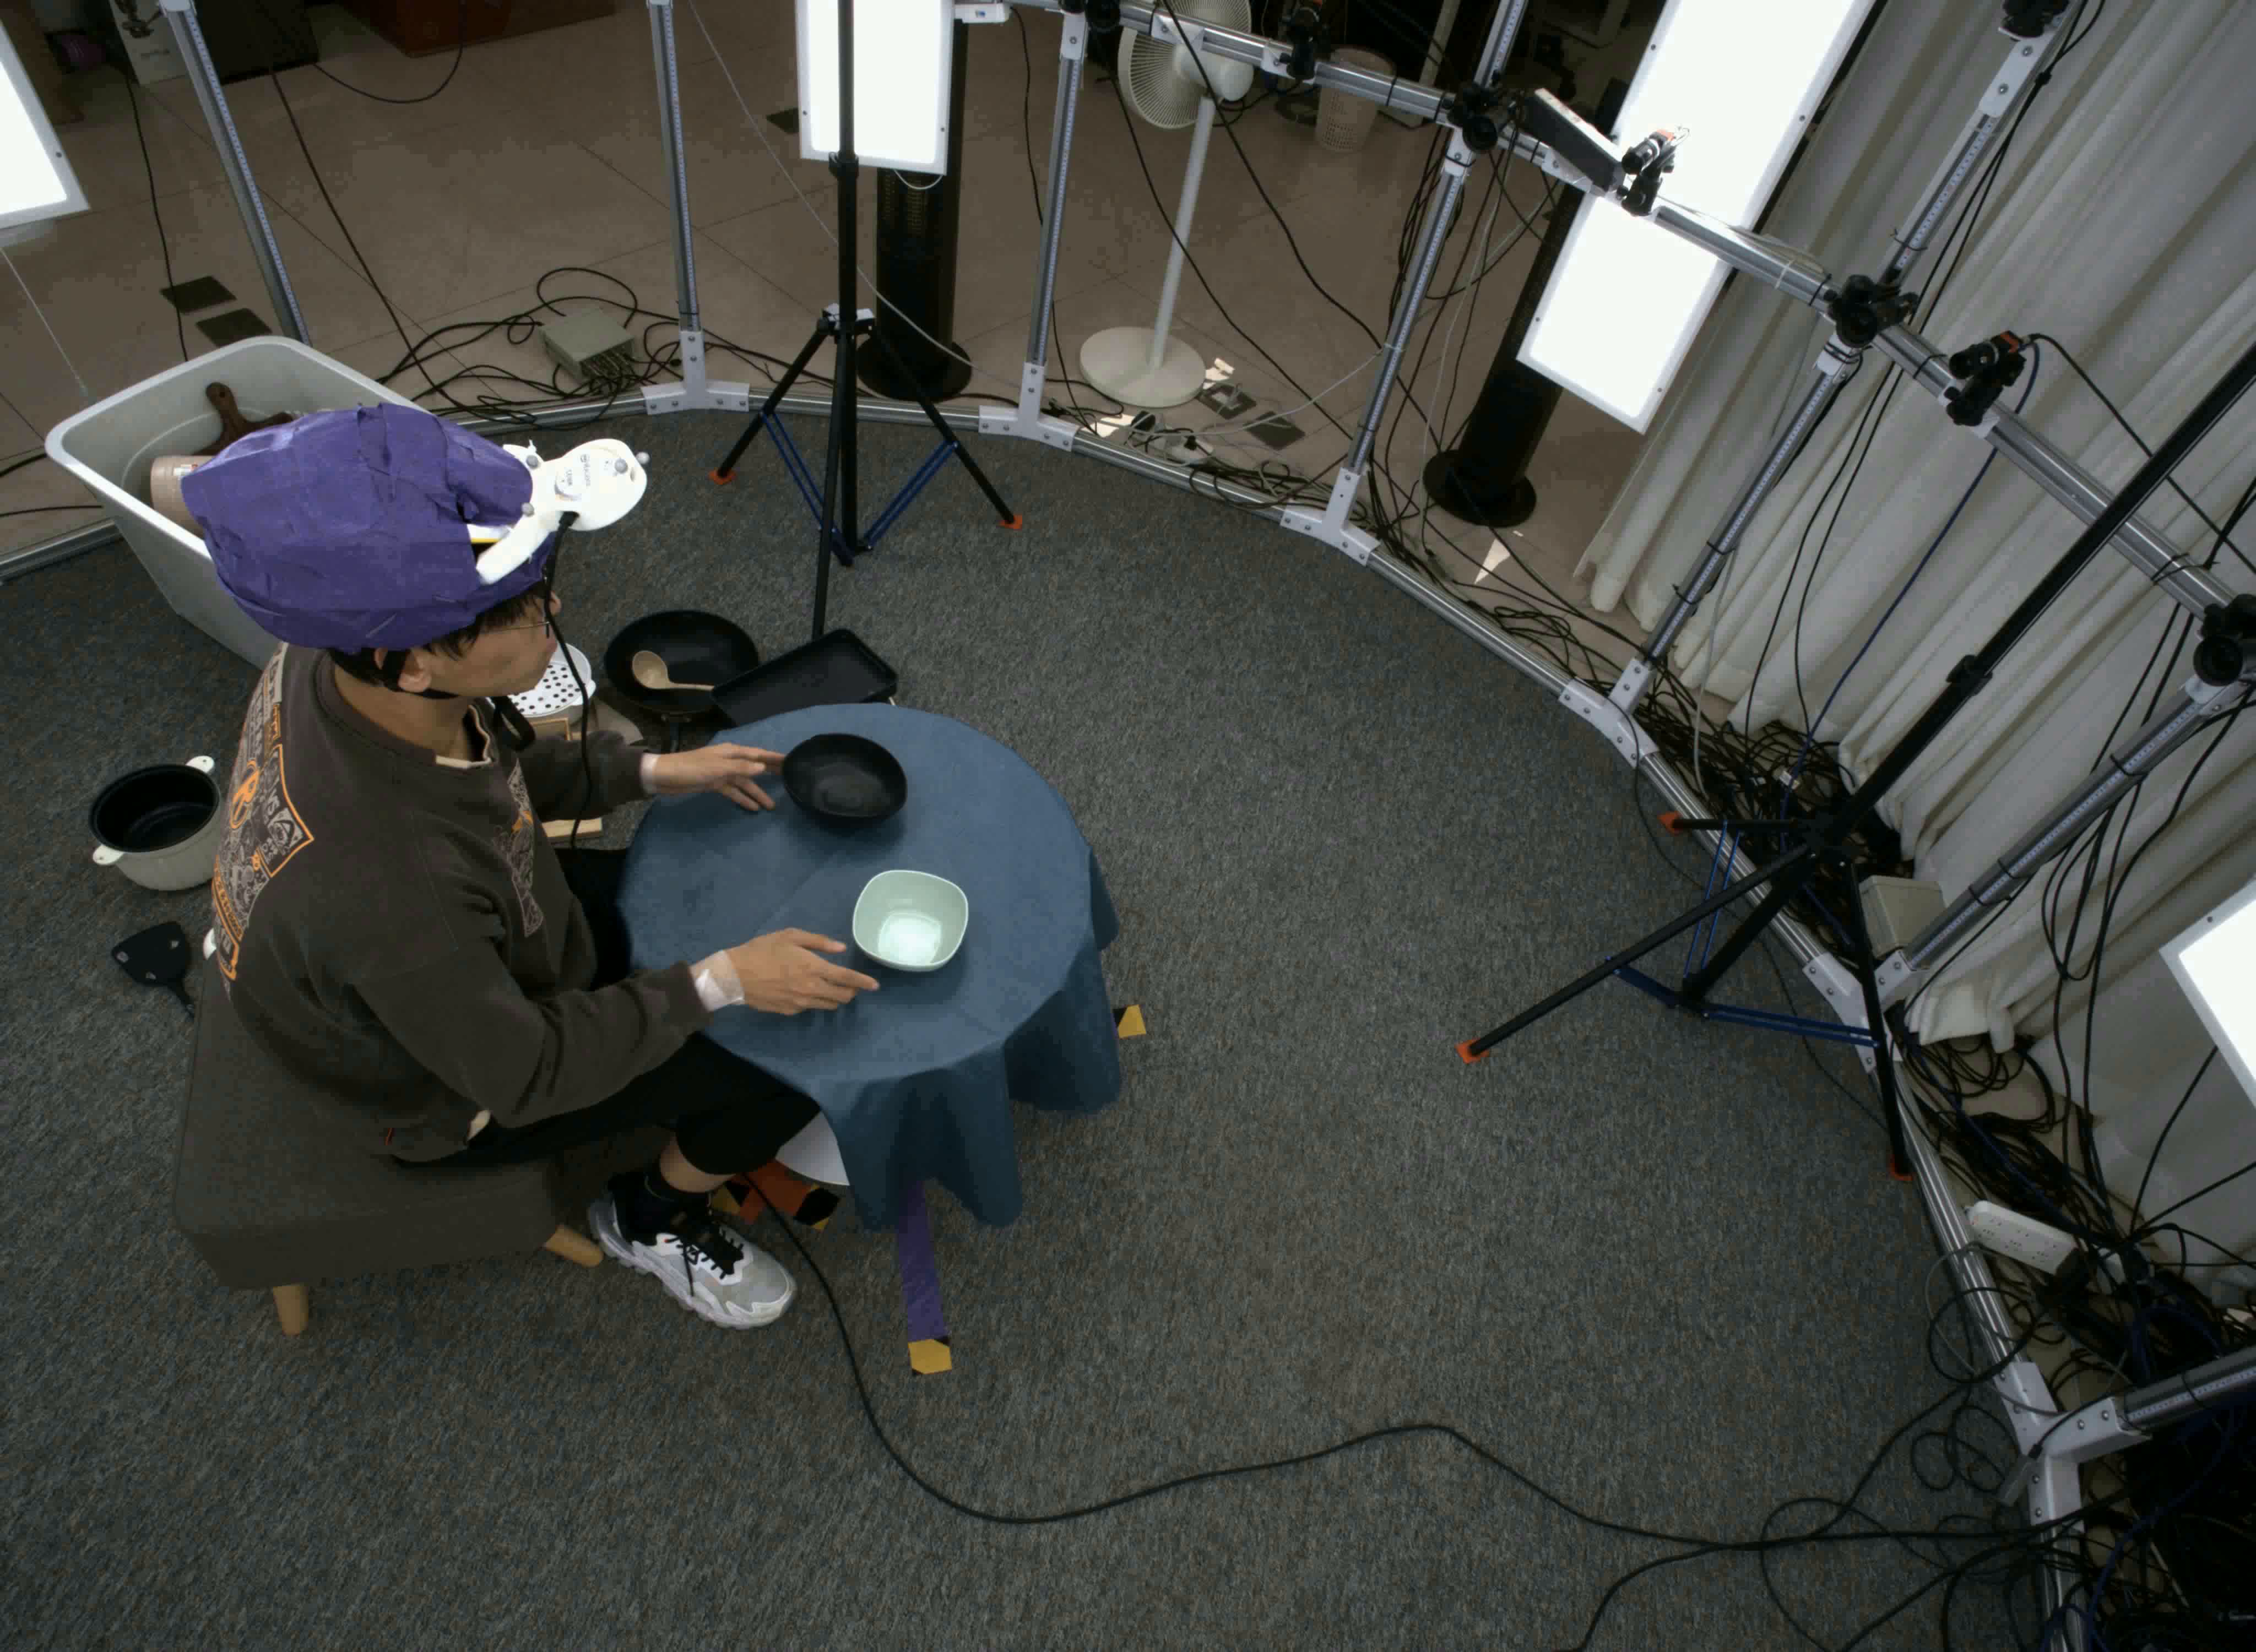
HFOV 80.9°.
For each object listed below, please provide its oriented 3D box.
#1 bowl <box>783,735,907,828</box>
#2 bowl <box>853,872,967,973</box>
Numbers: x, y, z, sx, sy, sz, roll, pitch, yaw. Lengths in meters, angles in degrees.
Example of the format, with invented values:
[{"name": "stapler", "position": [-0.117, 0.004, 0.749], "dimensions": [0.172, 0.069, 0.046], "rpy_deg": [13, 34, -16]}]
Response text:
[{"name": "bowl", "position": [-0.379, -0.049, 1.746], "dimensions": [0.169, 0.068, 0.136], "rpy_deg": [17, 52, -2]}, {"name": "bowl", "position": [-0.275, 0.130, 1.642], "dimensions": [0.151, 0.060, 0.148], "rpy_deg": [8, 50, -8]}]
